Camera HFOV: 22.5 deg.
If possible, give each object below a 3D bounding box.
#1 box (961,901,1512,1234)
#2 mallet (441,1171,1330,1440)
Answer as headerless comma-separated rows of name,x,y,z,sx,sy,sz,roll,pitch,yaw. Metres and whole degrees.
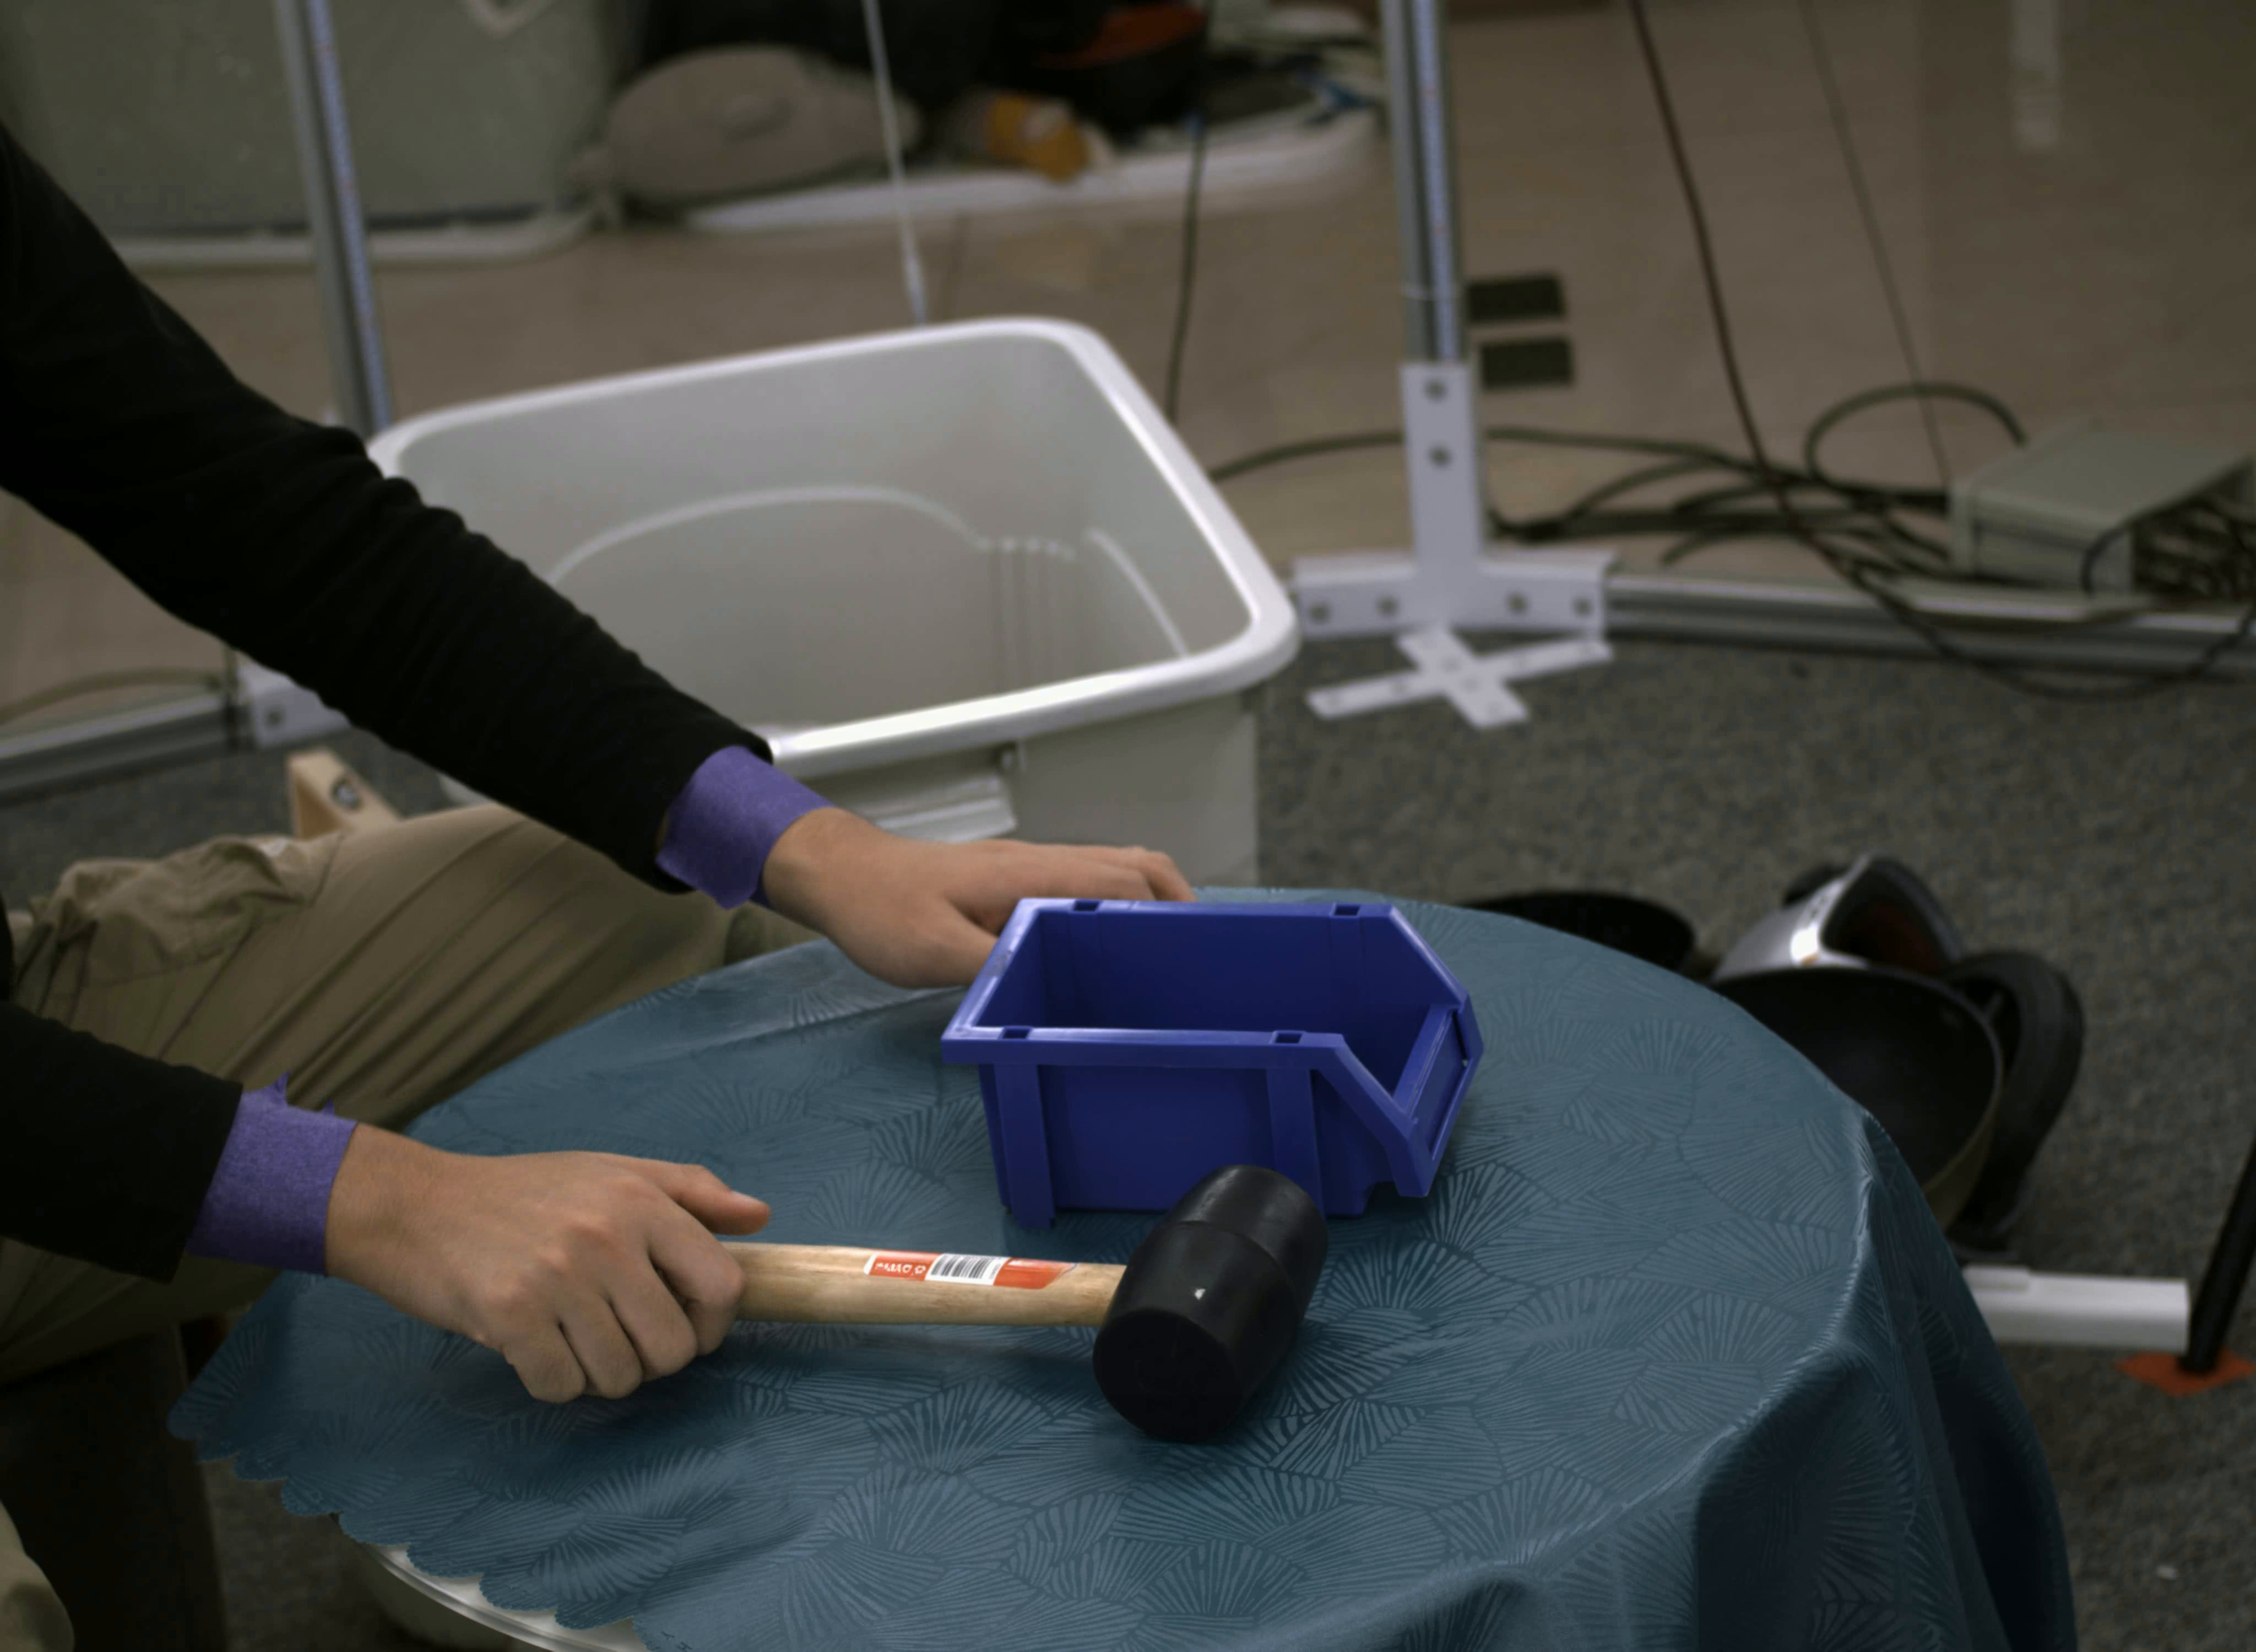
box,0.044,0.089,2.148,0.179,0.083,0.123,-2,26,18
mallet,-0.098,0.161,2.056,0.338,0.065,0.100,4,27,23
